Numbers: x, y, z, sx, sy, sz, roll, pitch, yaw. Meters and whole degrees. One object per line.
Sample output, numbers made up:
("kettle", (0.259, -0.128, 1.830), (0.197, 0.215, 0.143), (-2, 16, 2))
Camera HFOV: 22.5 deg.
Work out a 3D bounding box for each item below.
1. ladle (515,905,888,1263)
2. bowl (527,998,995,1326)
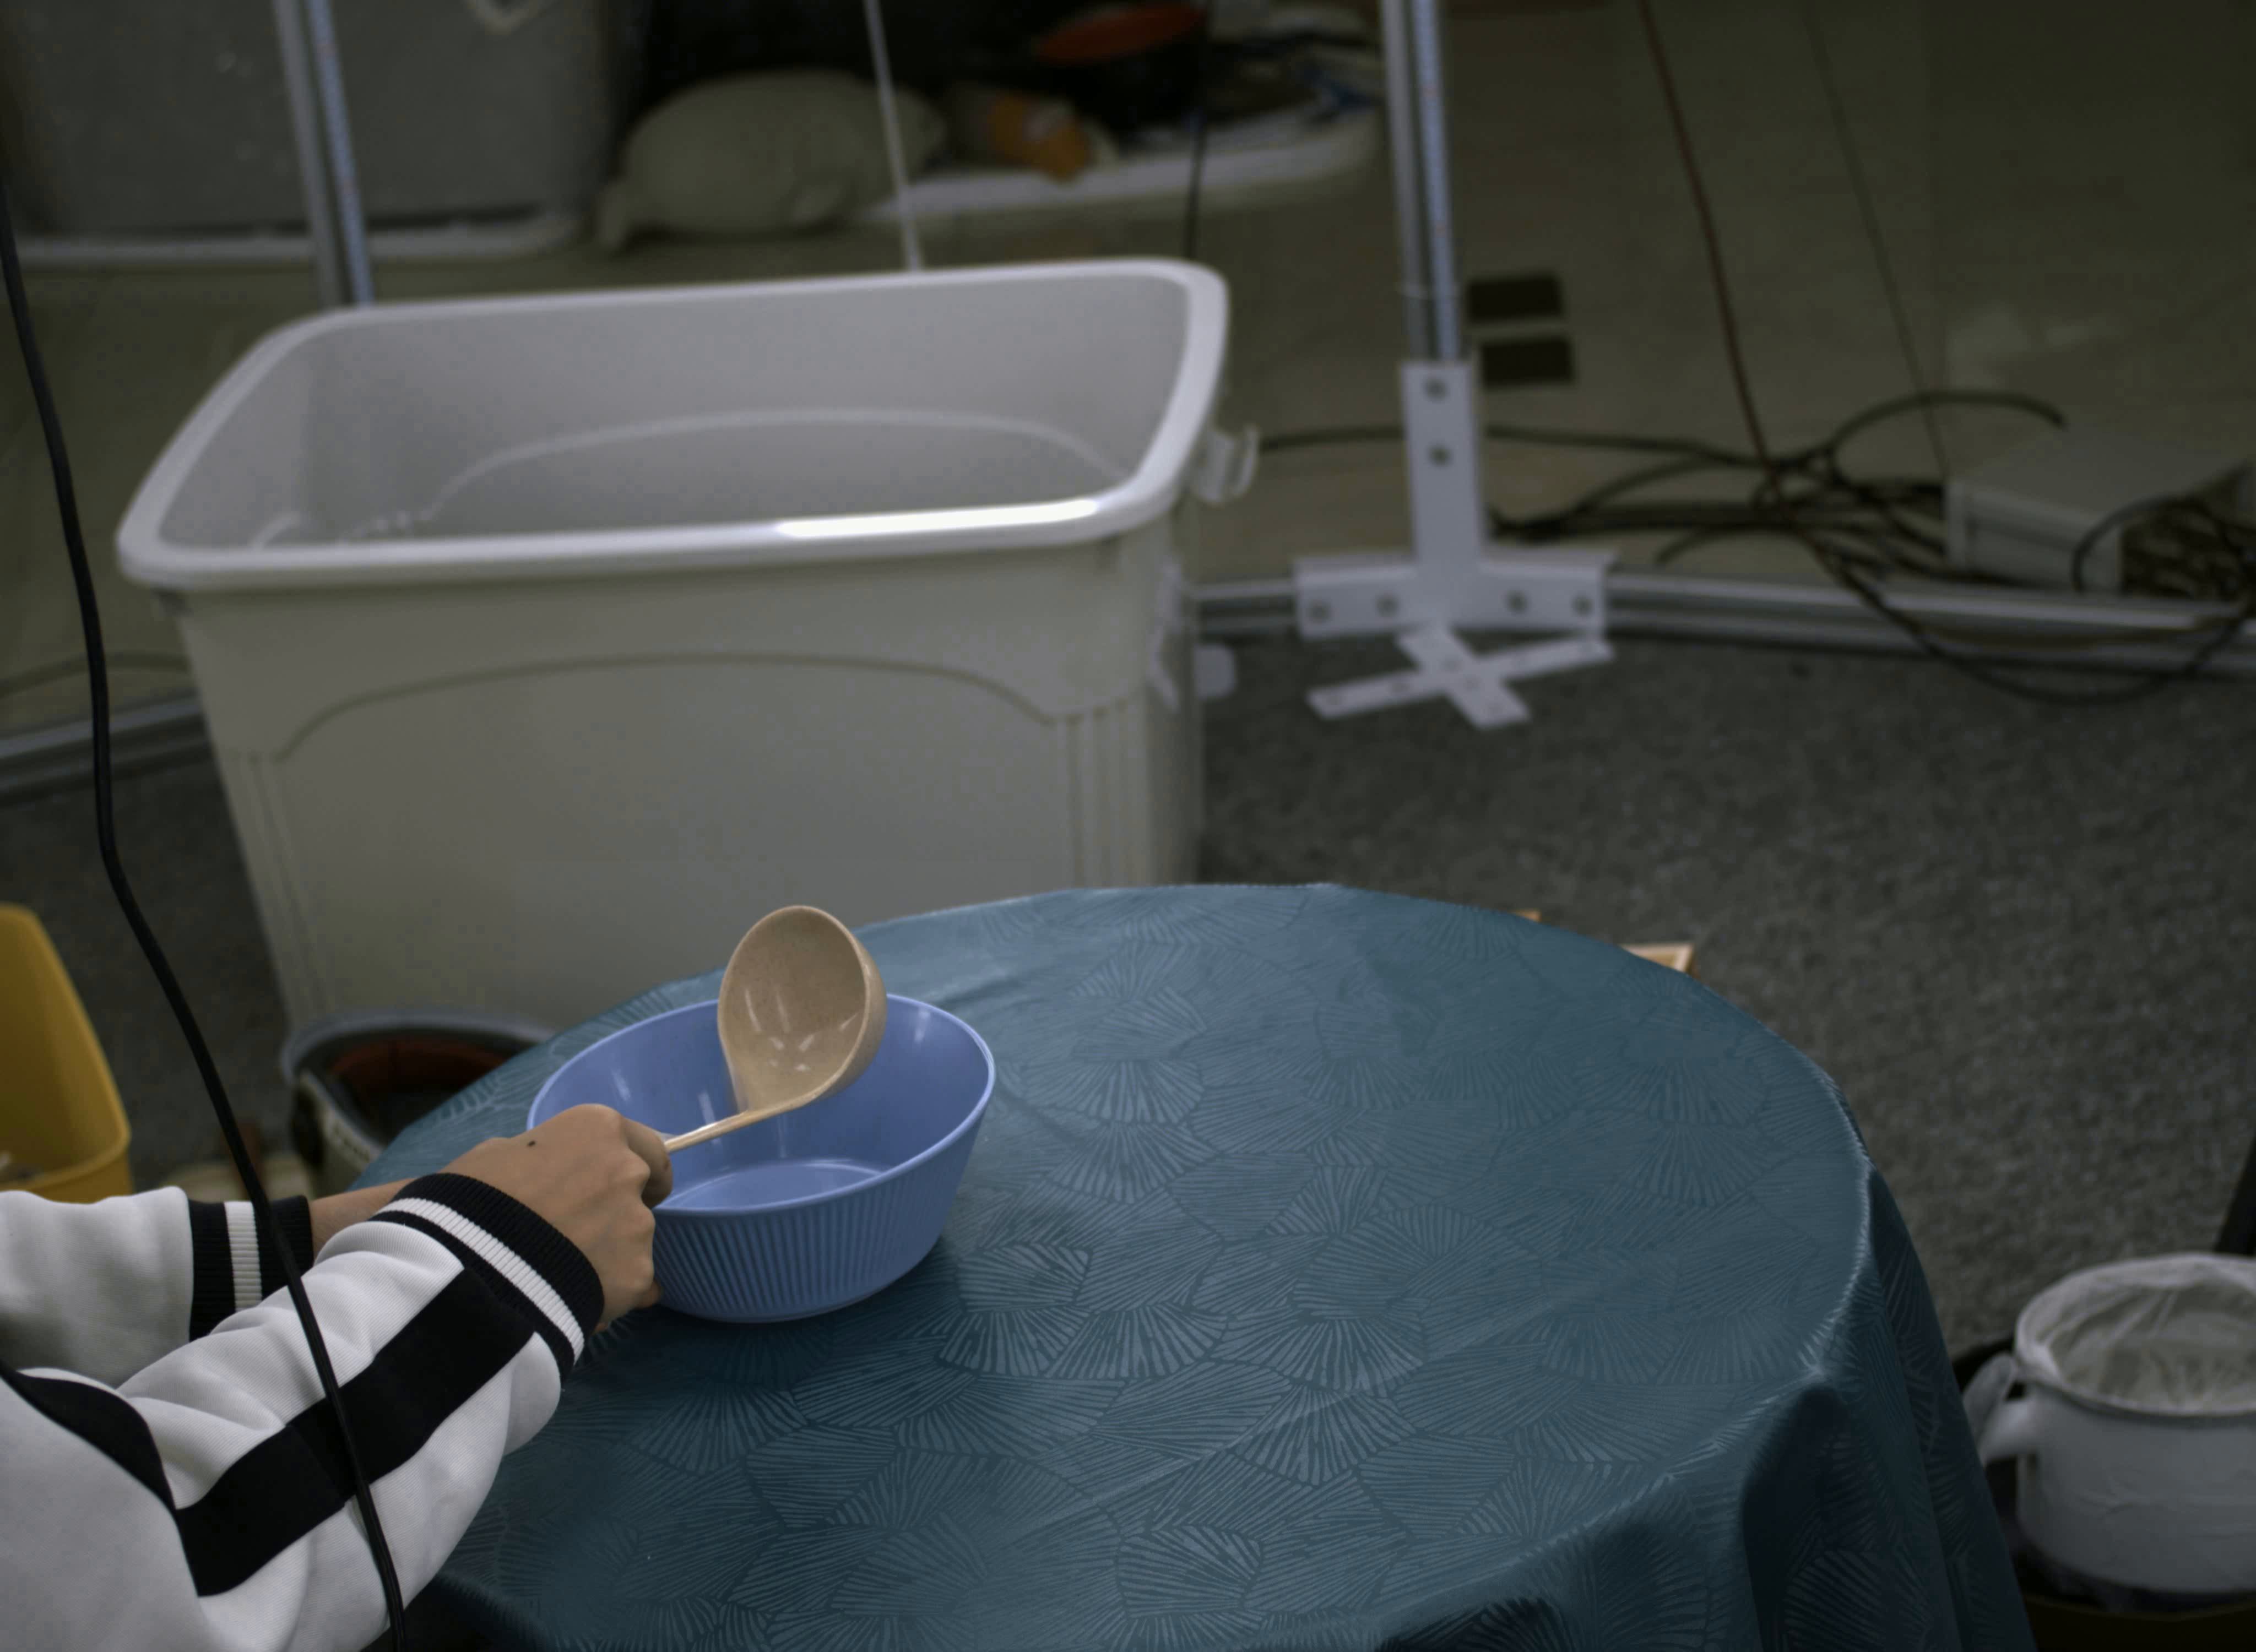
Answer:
("ladle", (-0.164, 0.088, 2.015), (0.072, 0.073, 0.252), (-24, 1, 28))
("bowl", (-0.133, 0.130, 2.116), (0.176, 0.071, 0.173), (-6, 24, 3))
